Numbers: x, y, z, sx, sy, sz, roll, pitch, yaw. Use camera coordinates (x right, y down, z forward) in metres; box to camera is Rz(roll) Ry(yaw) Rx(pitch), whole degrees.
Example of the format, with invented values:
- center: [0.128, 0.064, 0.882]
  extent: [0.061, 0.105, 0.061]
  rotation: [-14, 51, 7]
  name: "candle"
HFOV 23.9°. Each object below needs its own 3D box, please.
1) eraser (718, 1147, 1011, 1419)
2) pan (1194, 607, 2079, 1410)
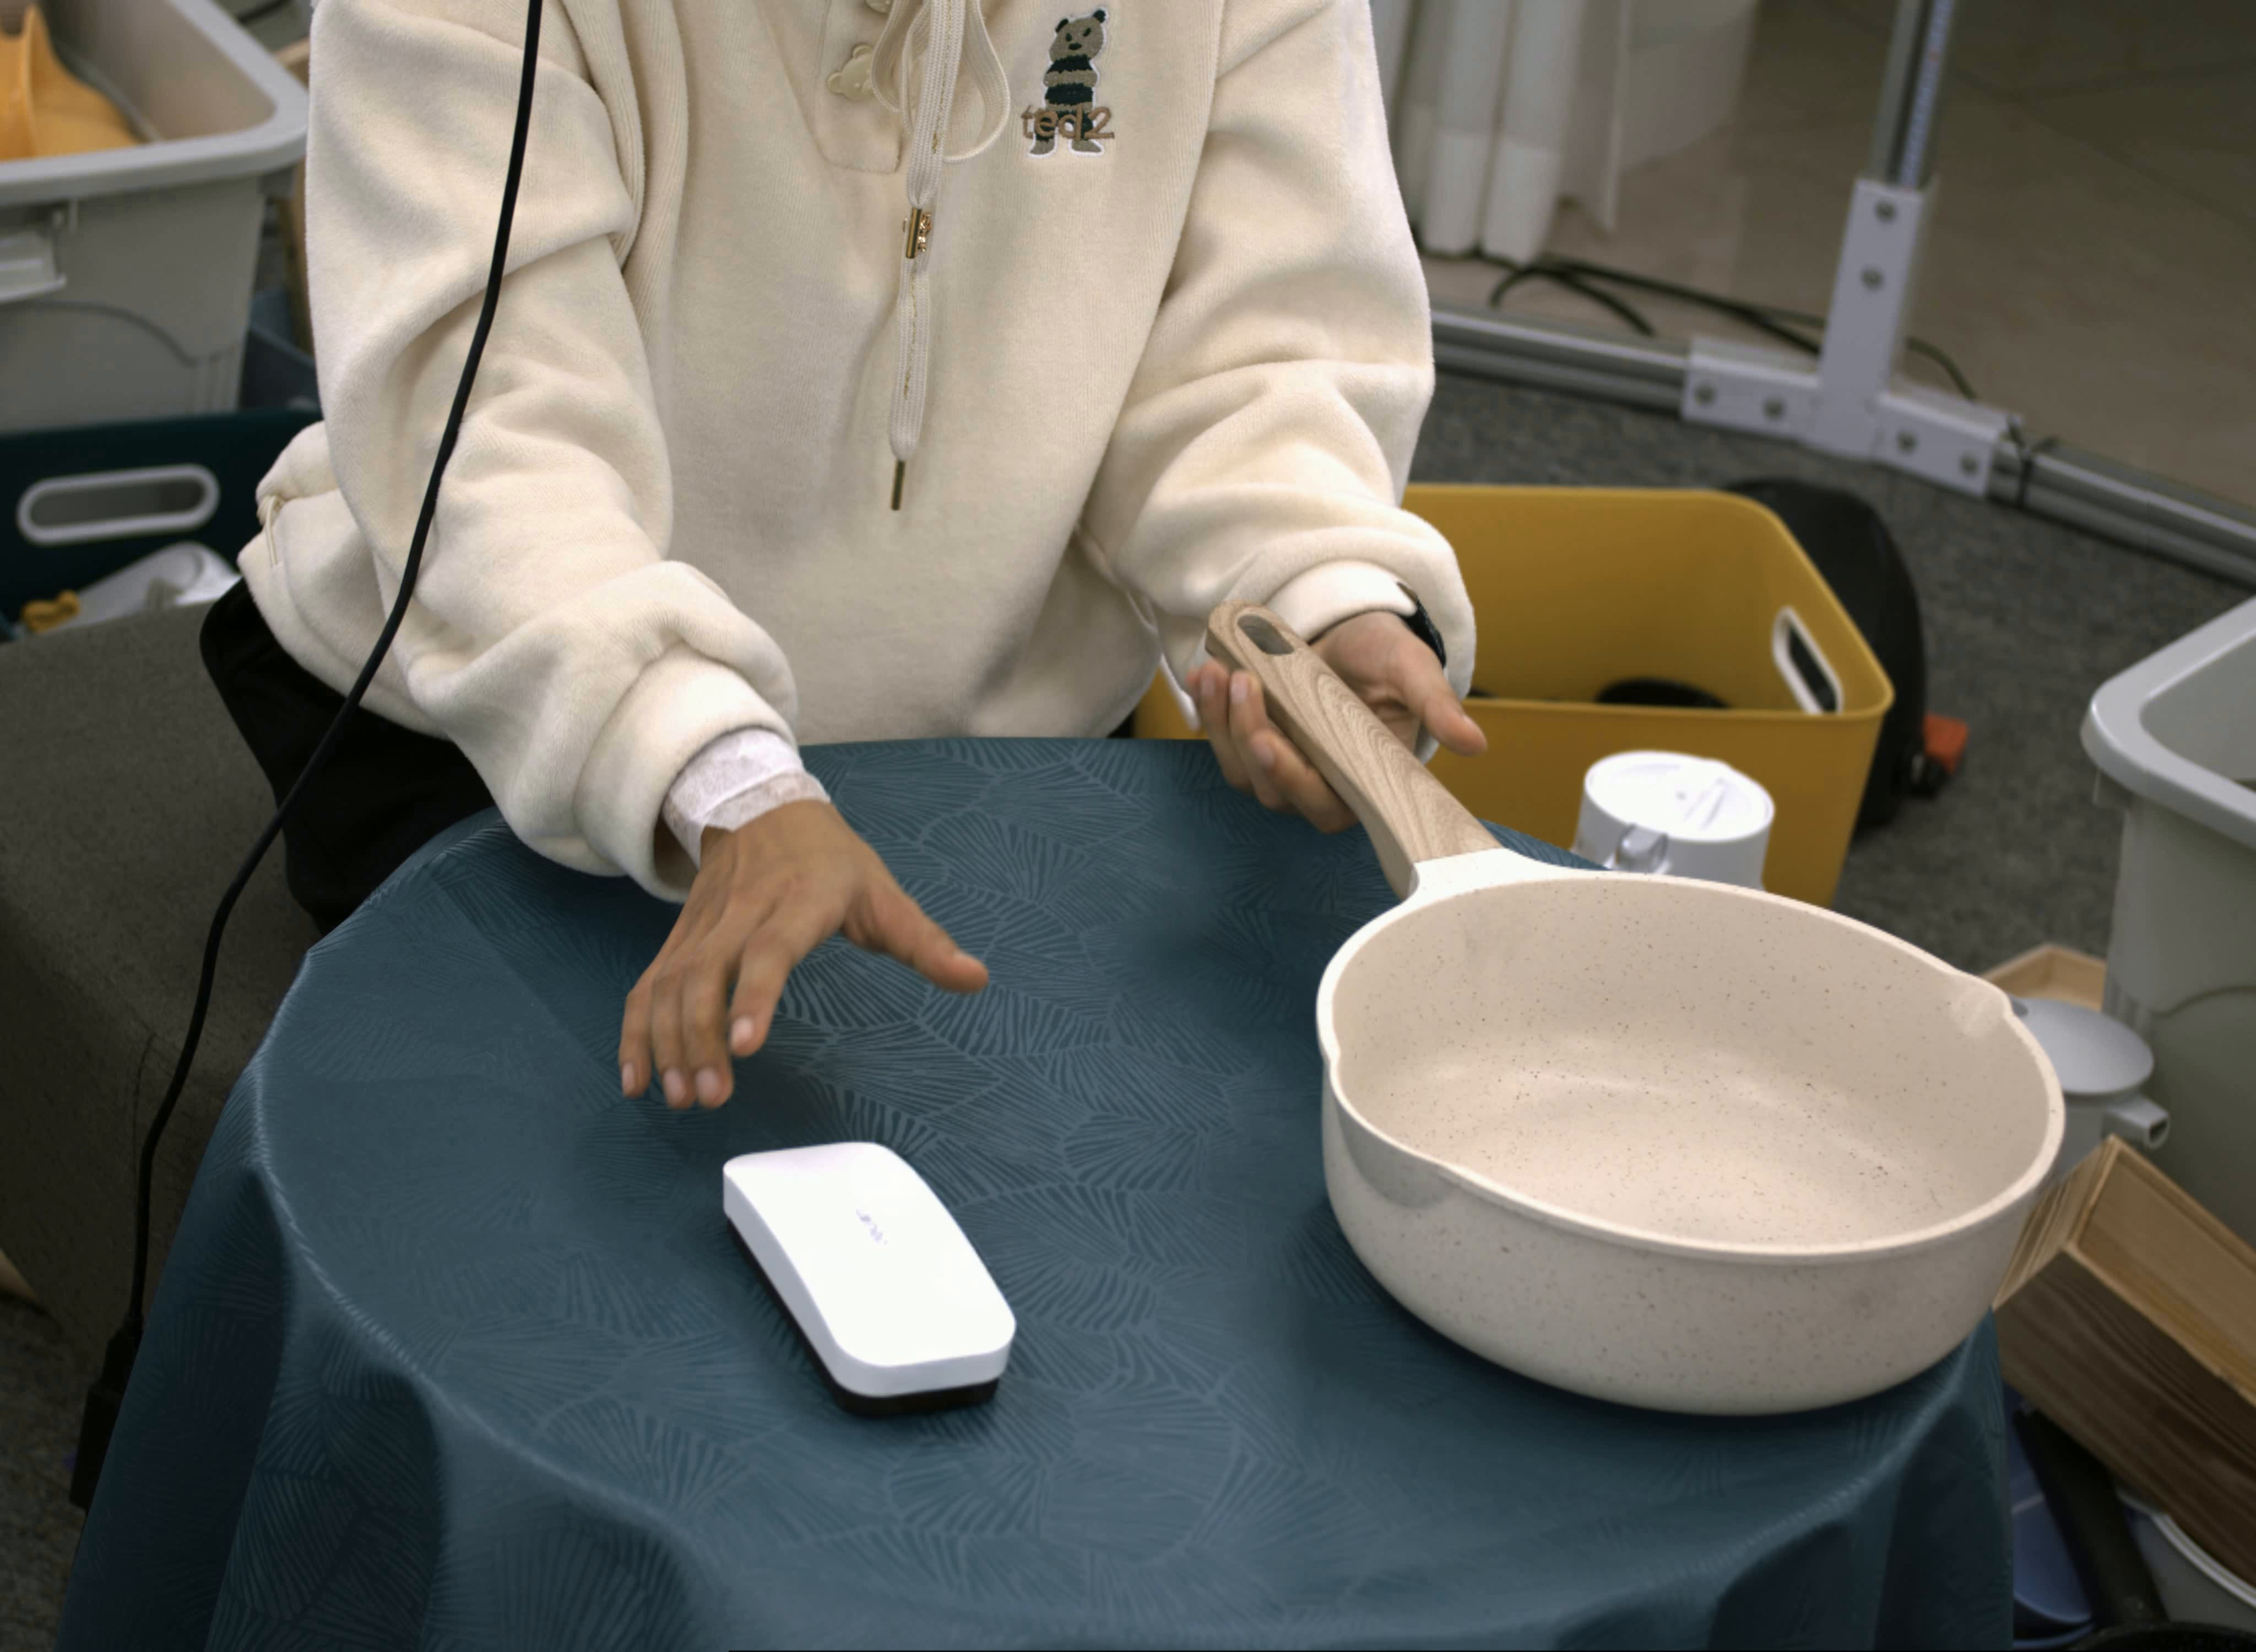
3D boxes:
- center: [-0.085, 0.143, 1.712]
  extent: [0.063, 0.034, 0.132]
  rotation: [-3, 29, -24]
  name: "eraser"
- center: [0.141, 0.059, 1.847]
  extent: [0.262, 0.101, 0.439]
  rotation: [-11, 32, -28]
  name: "pan"
